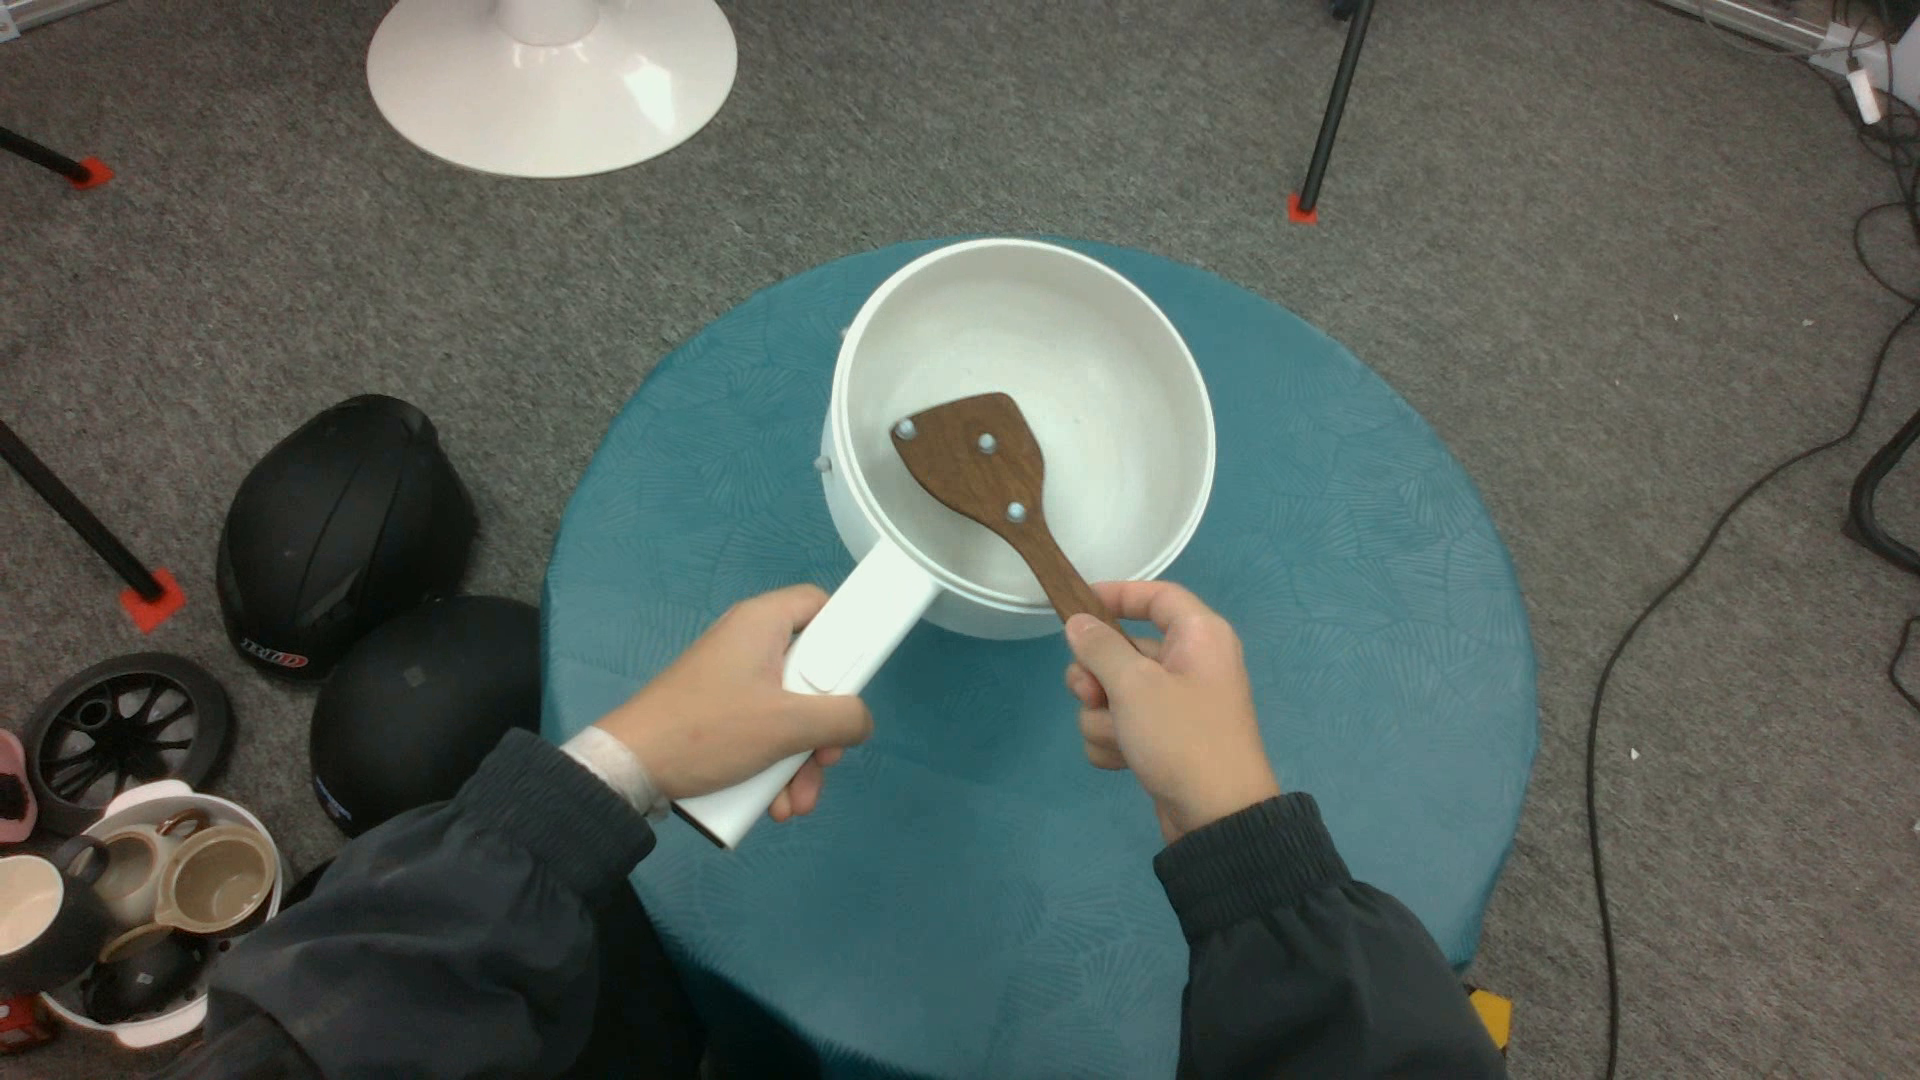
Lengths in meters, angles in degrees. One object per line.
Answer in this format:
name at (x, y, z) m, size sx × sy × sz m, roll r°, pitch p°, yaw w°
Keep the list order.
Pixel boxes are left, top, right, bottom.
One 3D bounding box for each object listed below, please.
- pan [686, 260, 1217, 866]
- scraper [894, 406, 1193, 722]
pan at (-0.014, 0.016, 0.720) m, size 0.201 × 0.101 × 0.356 m, roll 37°, pitch 69°, yaw 1°
scraper at (0.044, 0.008, 0.674) m, size 0.076 × 0.011 × 0.211 m, roll -19°, pitch 52°, yaw -24°
